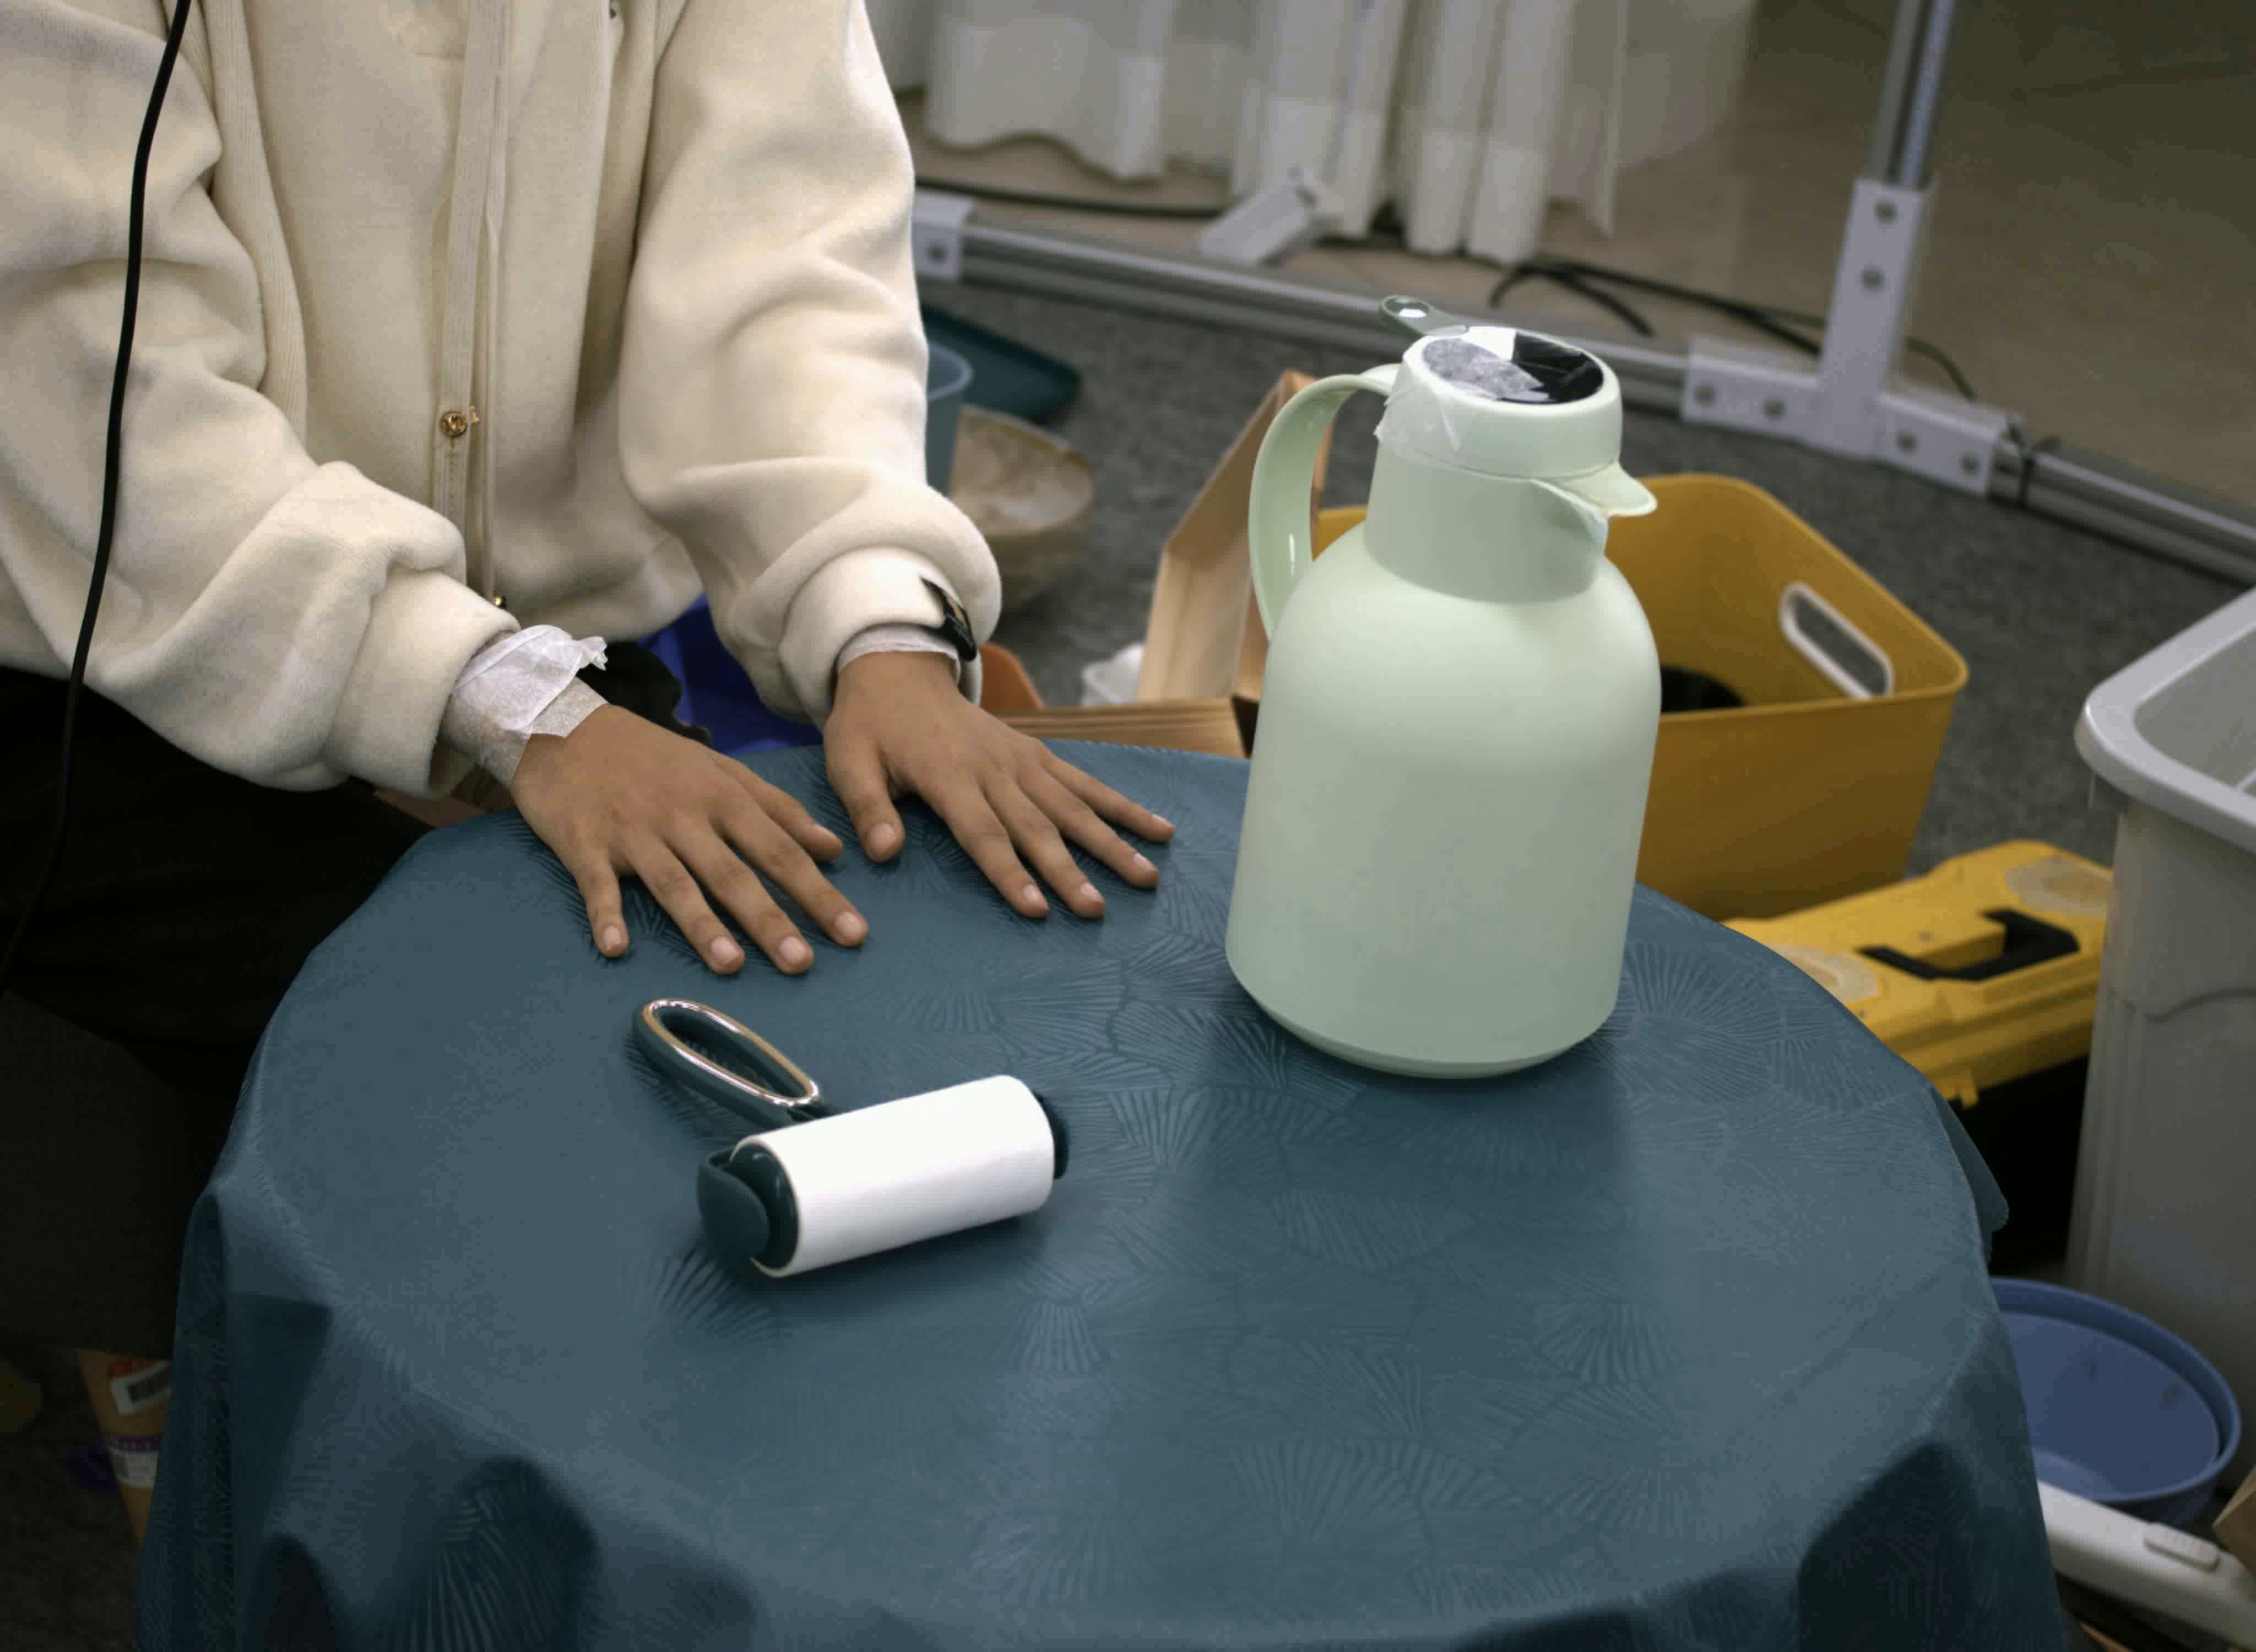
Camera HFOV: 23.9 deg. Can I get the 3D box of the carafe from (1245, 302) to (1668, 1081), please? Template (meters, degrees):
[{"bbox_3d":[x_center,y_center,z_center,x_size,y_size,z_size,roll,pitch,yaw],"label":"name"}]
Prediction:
[{"bbox_3d":[0.112,-0.053,1.901,0.143,0.256,0.188,-16,30,-34],"label":"carafe"}]

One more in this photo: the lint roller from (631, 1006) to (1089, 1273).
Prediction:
[{"bbox_3d":[-0.115,0.085,1.798,0.133,0.048,0.182,-11,32,-33],"label":"lint roller"}]
